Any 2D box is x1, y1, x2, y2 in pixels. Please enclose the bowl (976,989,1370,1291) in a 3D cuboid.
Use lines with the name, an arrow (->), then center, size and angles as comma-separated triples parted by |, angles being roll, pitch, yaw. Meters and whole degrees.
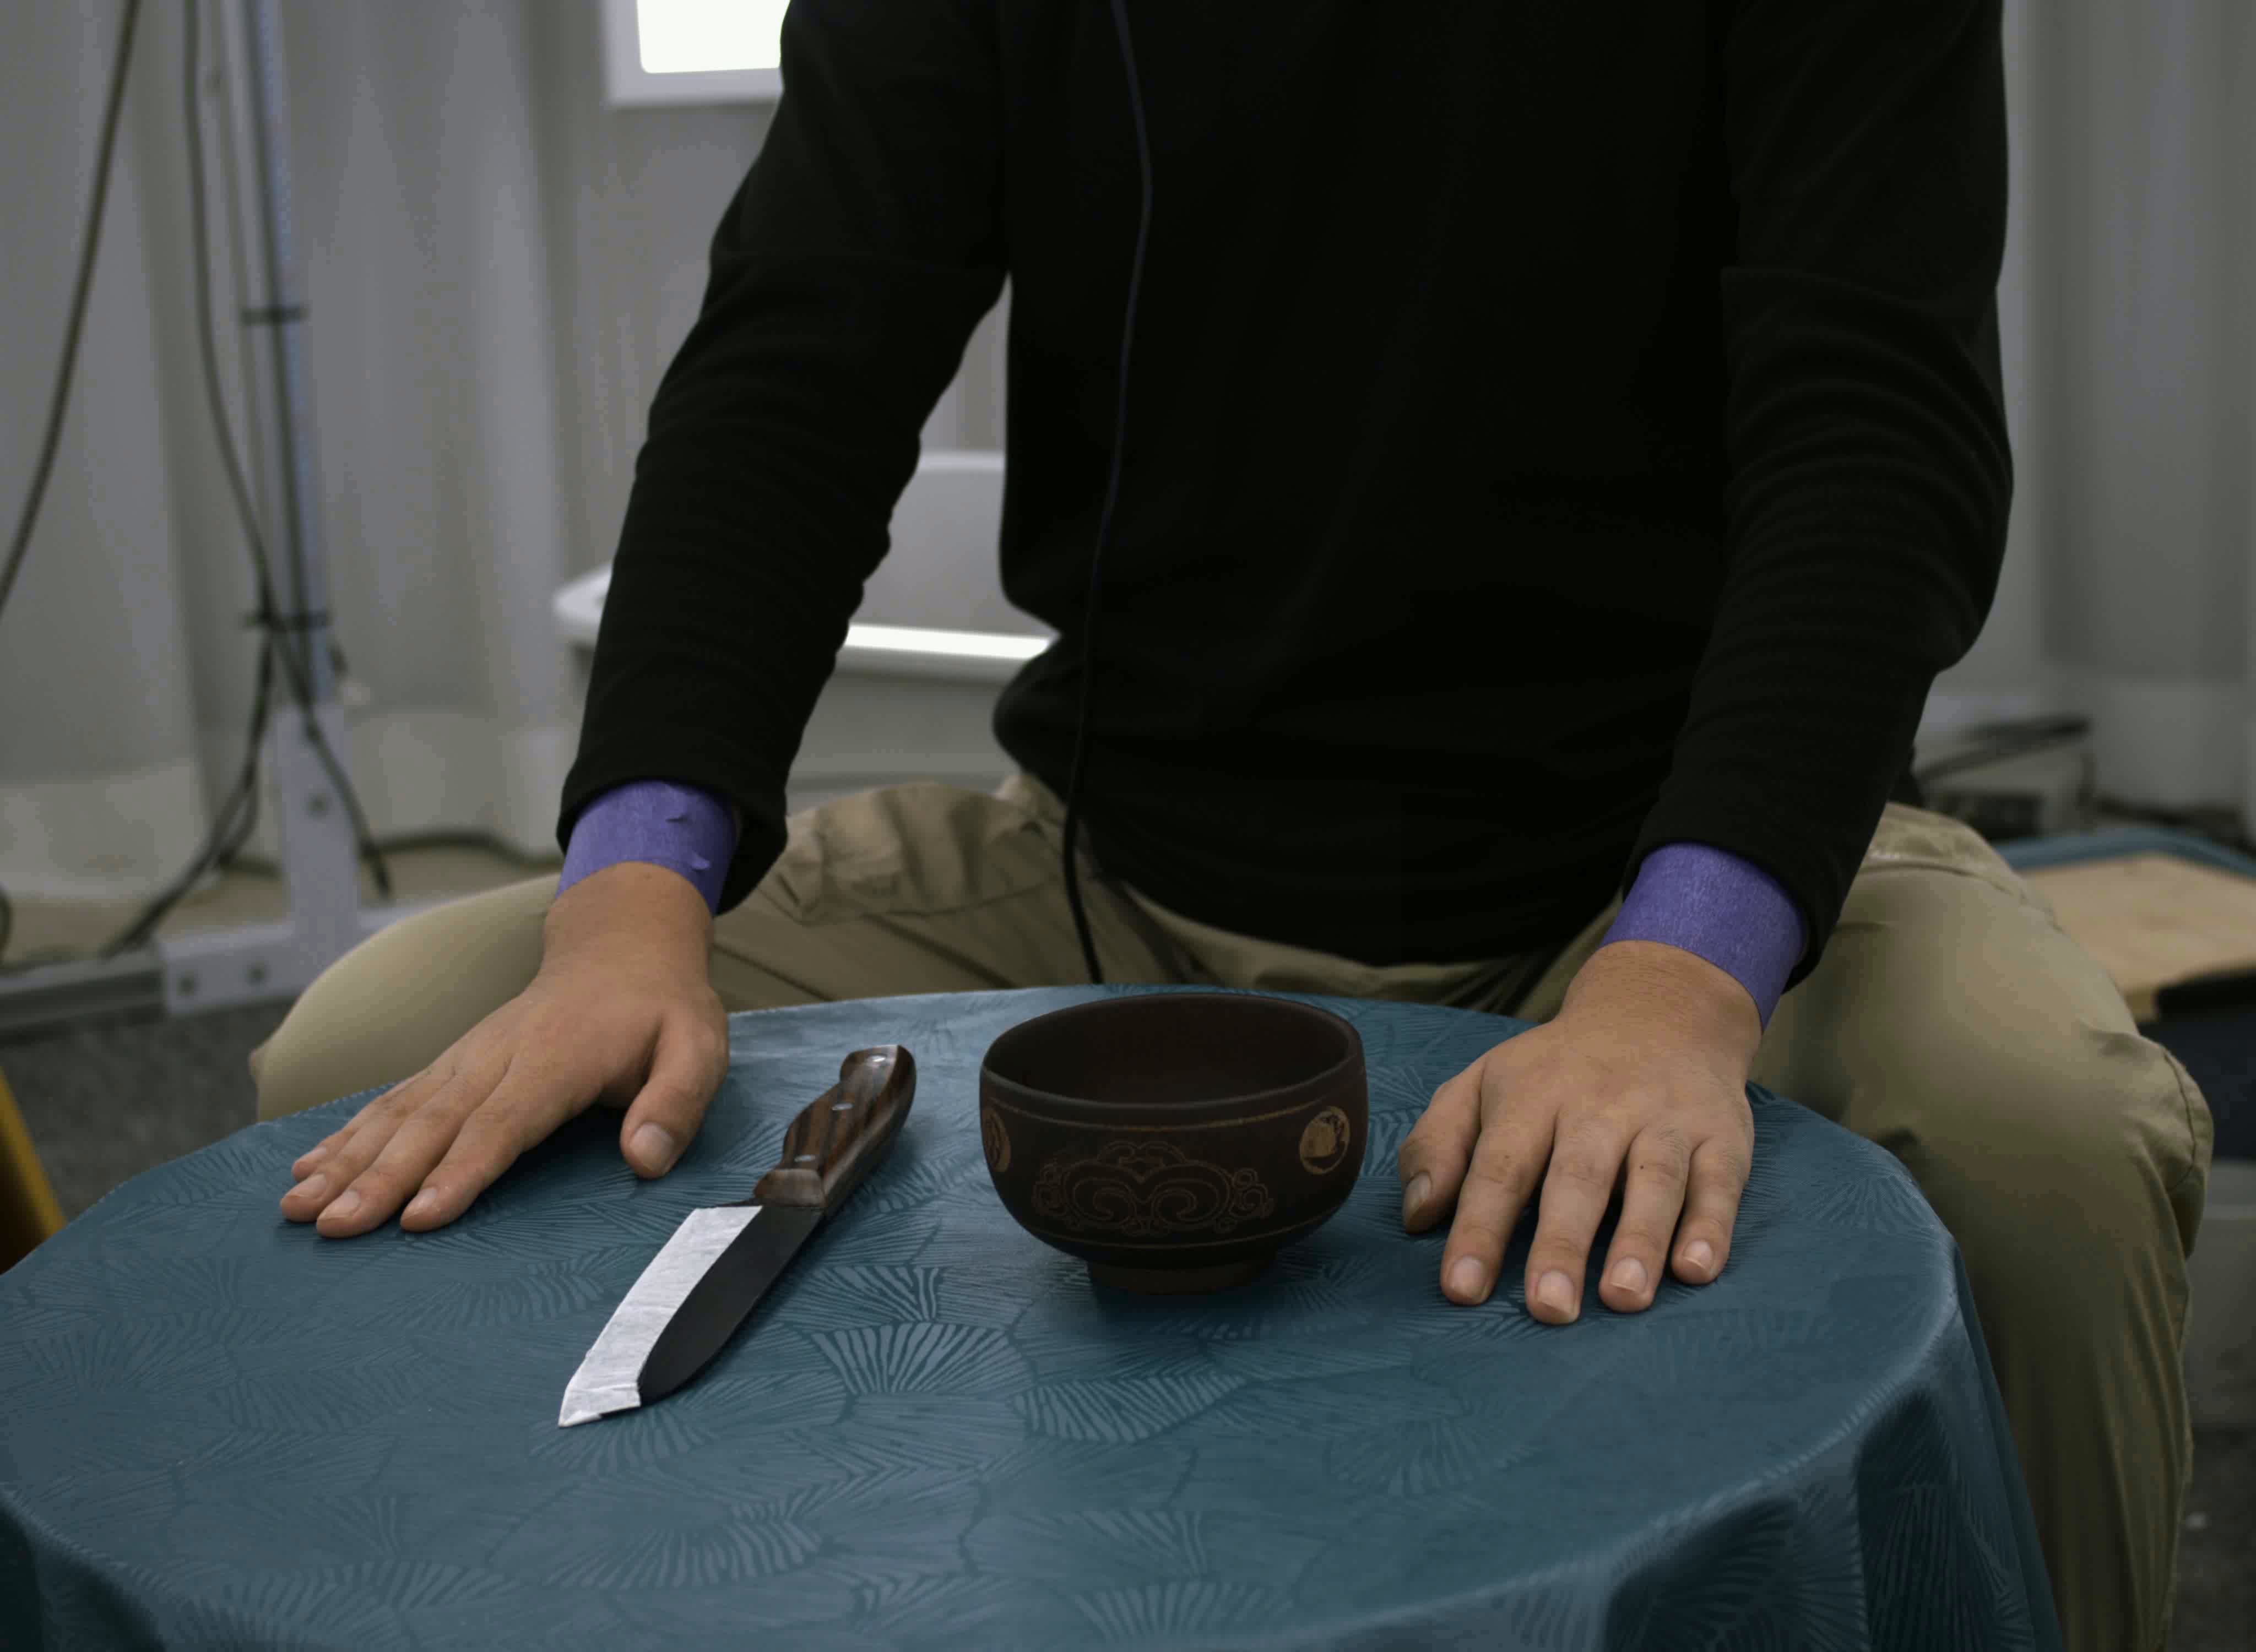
bowl -> 0.014, 0.097, 1.637 | 0.117, 0.069, 0.119 | -2, 14, 0

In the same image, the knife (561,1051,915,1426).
knife -> -0.116, 0.125, 1.668 | 0.050, 0.020, 0.290 | -3, 16, 17
